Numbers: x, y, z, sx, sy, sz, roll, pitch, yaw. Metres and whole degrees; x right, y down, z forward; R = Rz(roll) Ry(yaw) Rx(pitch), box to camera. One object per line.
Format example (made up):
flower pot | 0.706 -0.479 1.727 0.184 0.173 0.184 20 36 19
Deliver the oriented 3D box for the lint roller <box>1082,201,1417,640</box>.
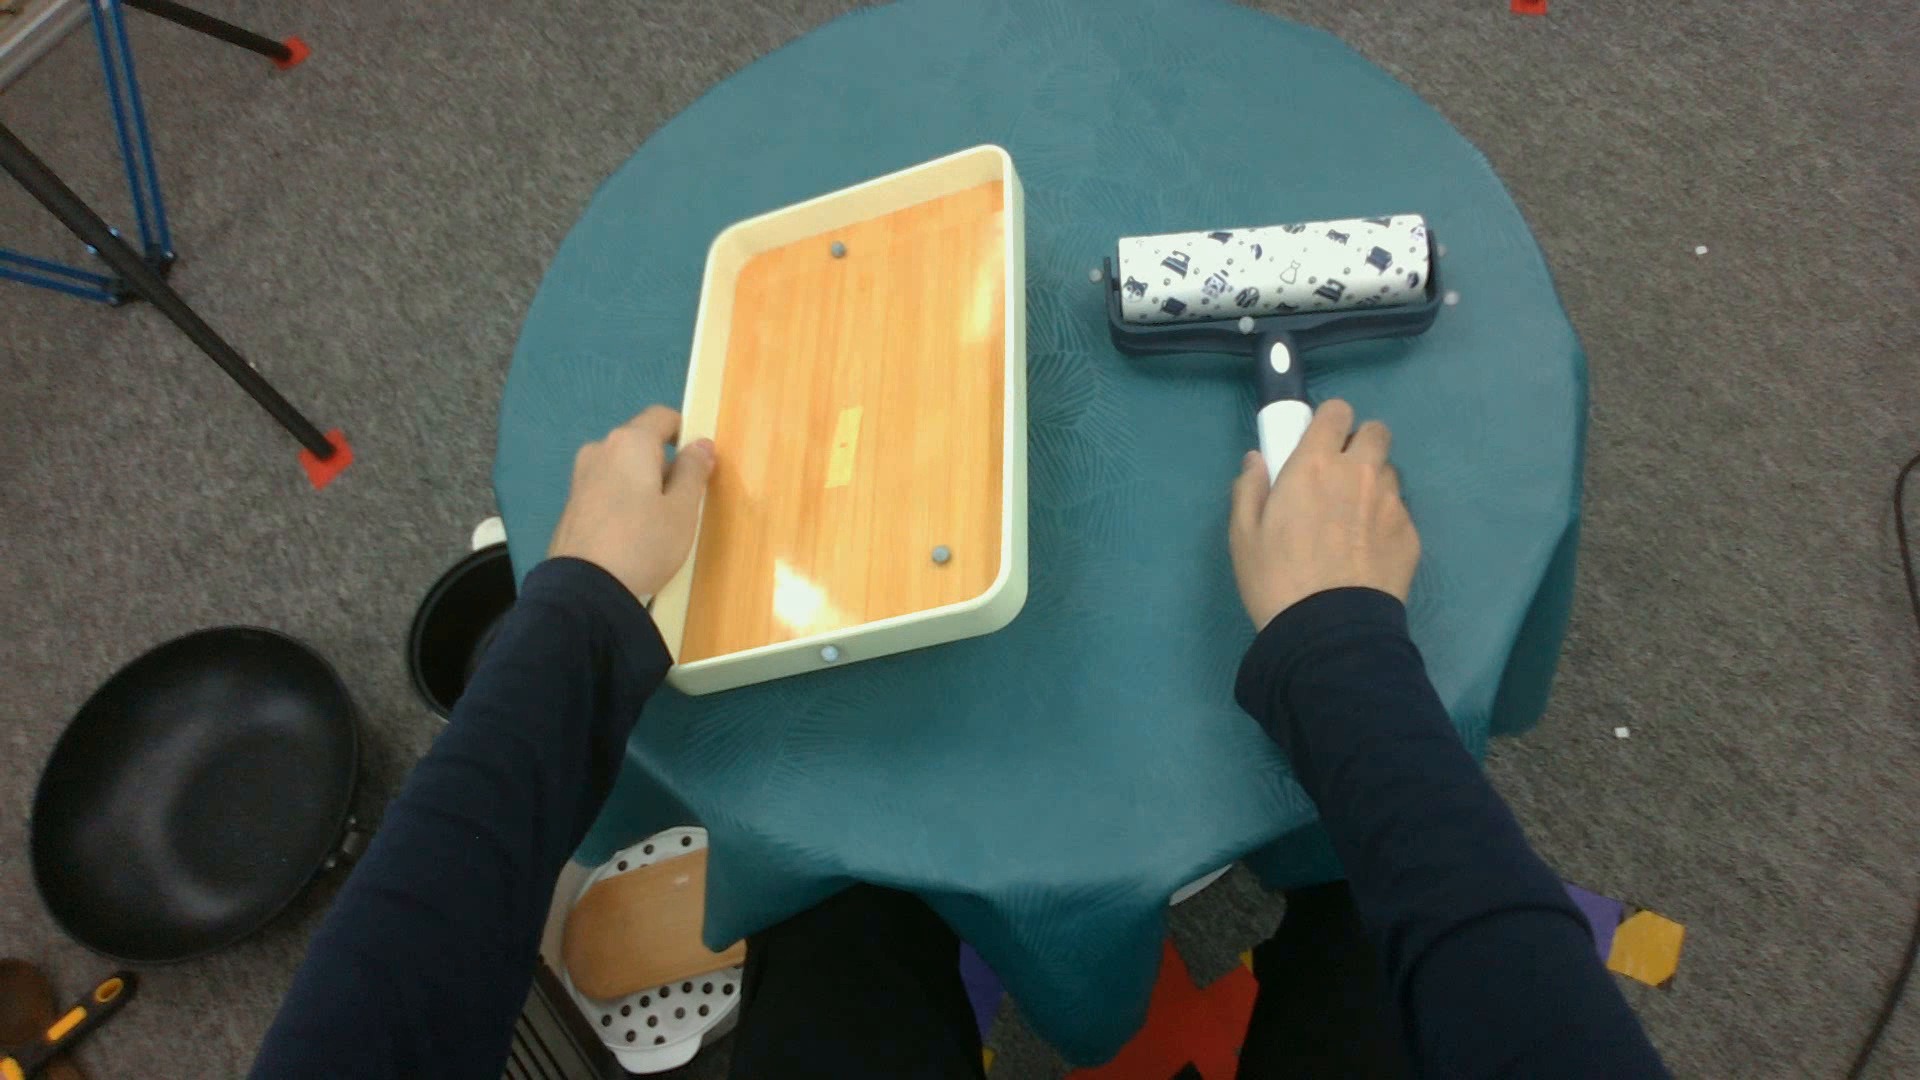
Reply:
lint roller | 0.158 -0.069 0.706 0.176 0.050 0.248 -4 62 4

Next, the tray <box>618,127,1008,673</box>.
tray | -0.067 -0.081 0.702 0.191 0.027 0.301 -12 53 19
